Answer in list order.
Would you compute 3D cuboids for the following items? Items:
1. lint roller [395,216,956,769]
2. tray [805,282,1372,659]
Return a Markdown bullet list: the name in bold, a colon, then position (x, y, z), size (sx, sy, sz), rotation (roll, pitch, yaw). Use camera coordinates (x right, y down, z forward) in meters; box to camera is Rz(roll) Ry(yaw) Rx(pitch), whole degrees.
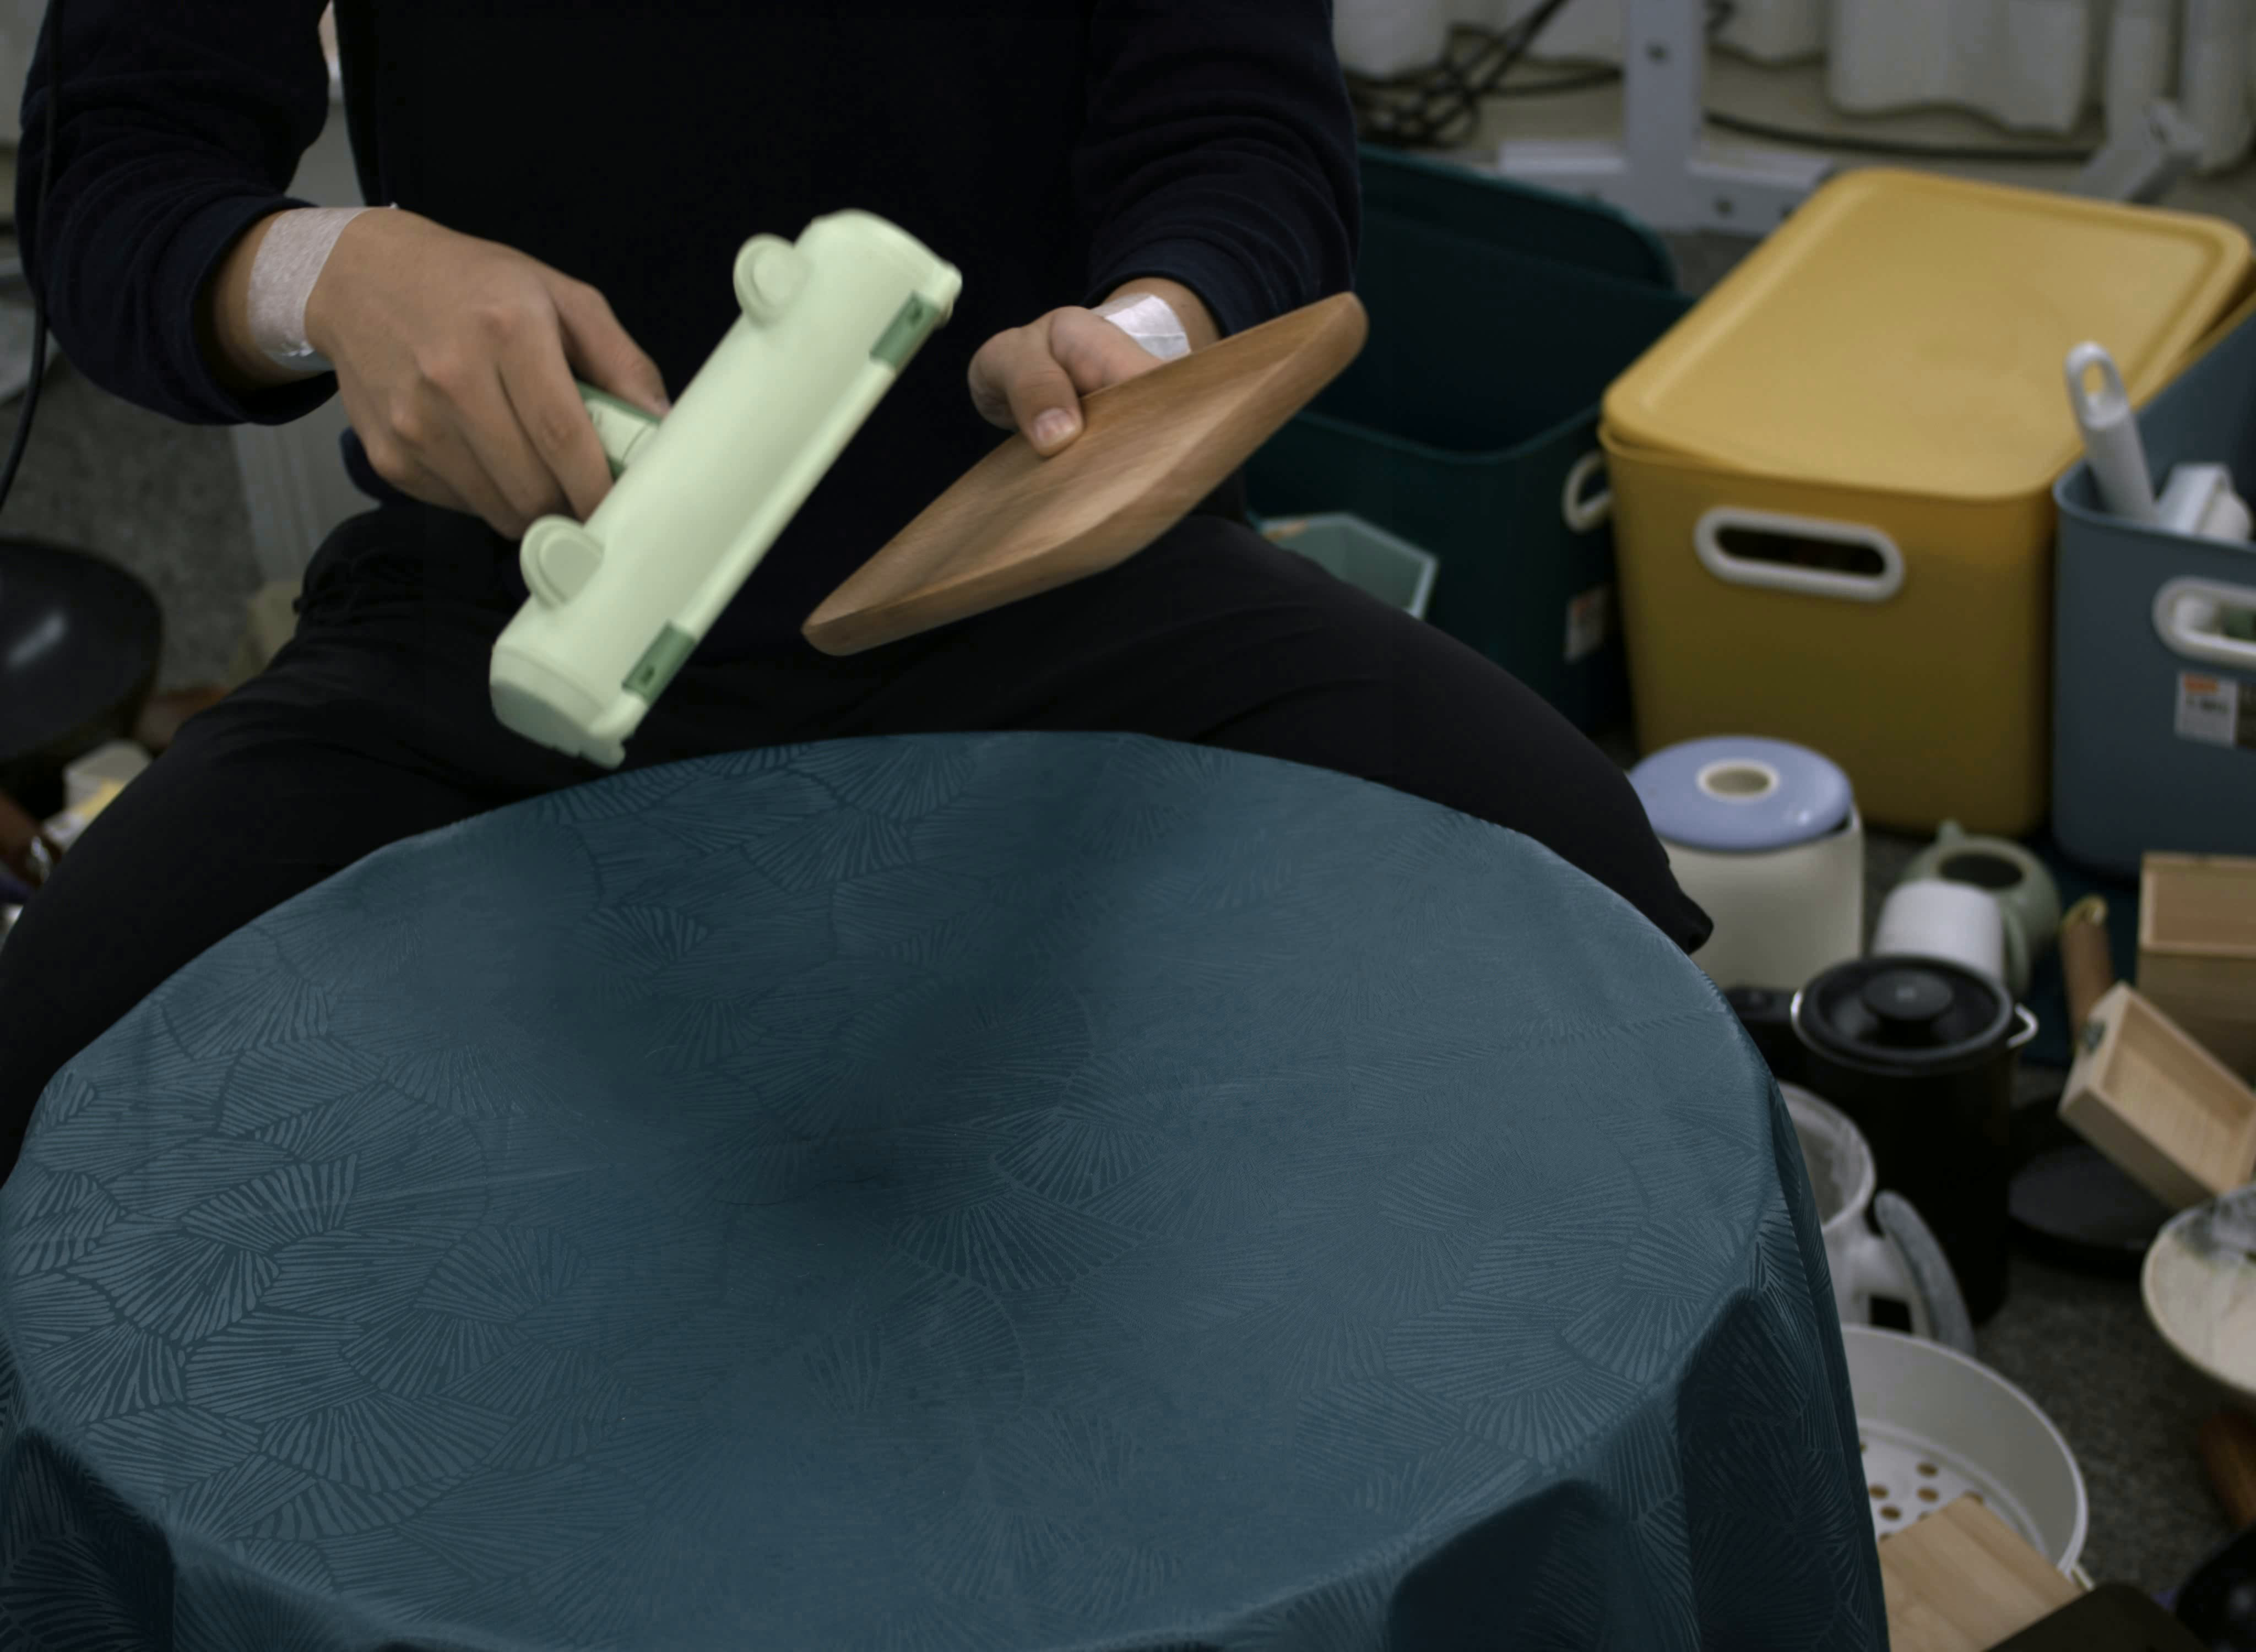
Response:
- **lint roller**: position (-0.176, -0.131, 1.814), size (0.183, 0.081, 0.201), rotation (25, 68, 27)
- **tray**: position (-0.015, -0.108, 1.776), size (0.132, 0.023, 0.248), rotation (-41, 11, -24)
